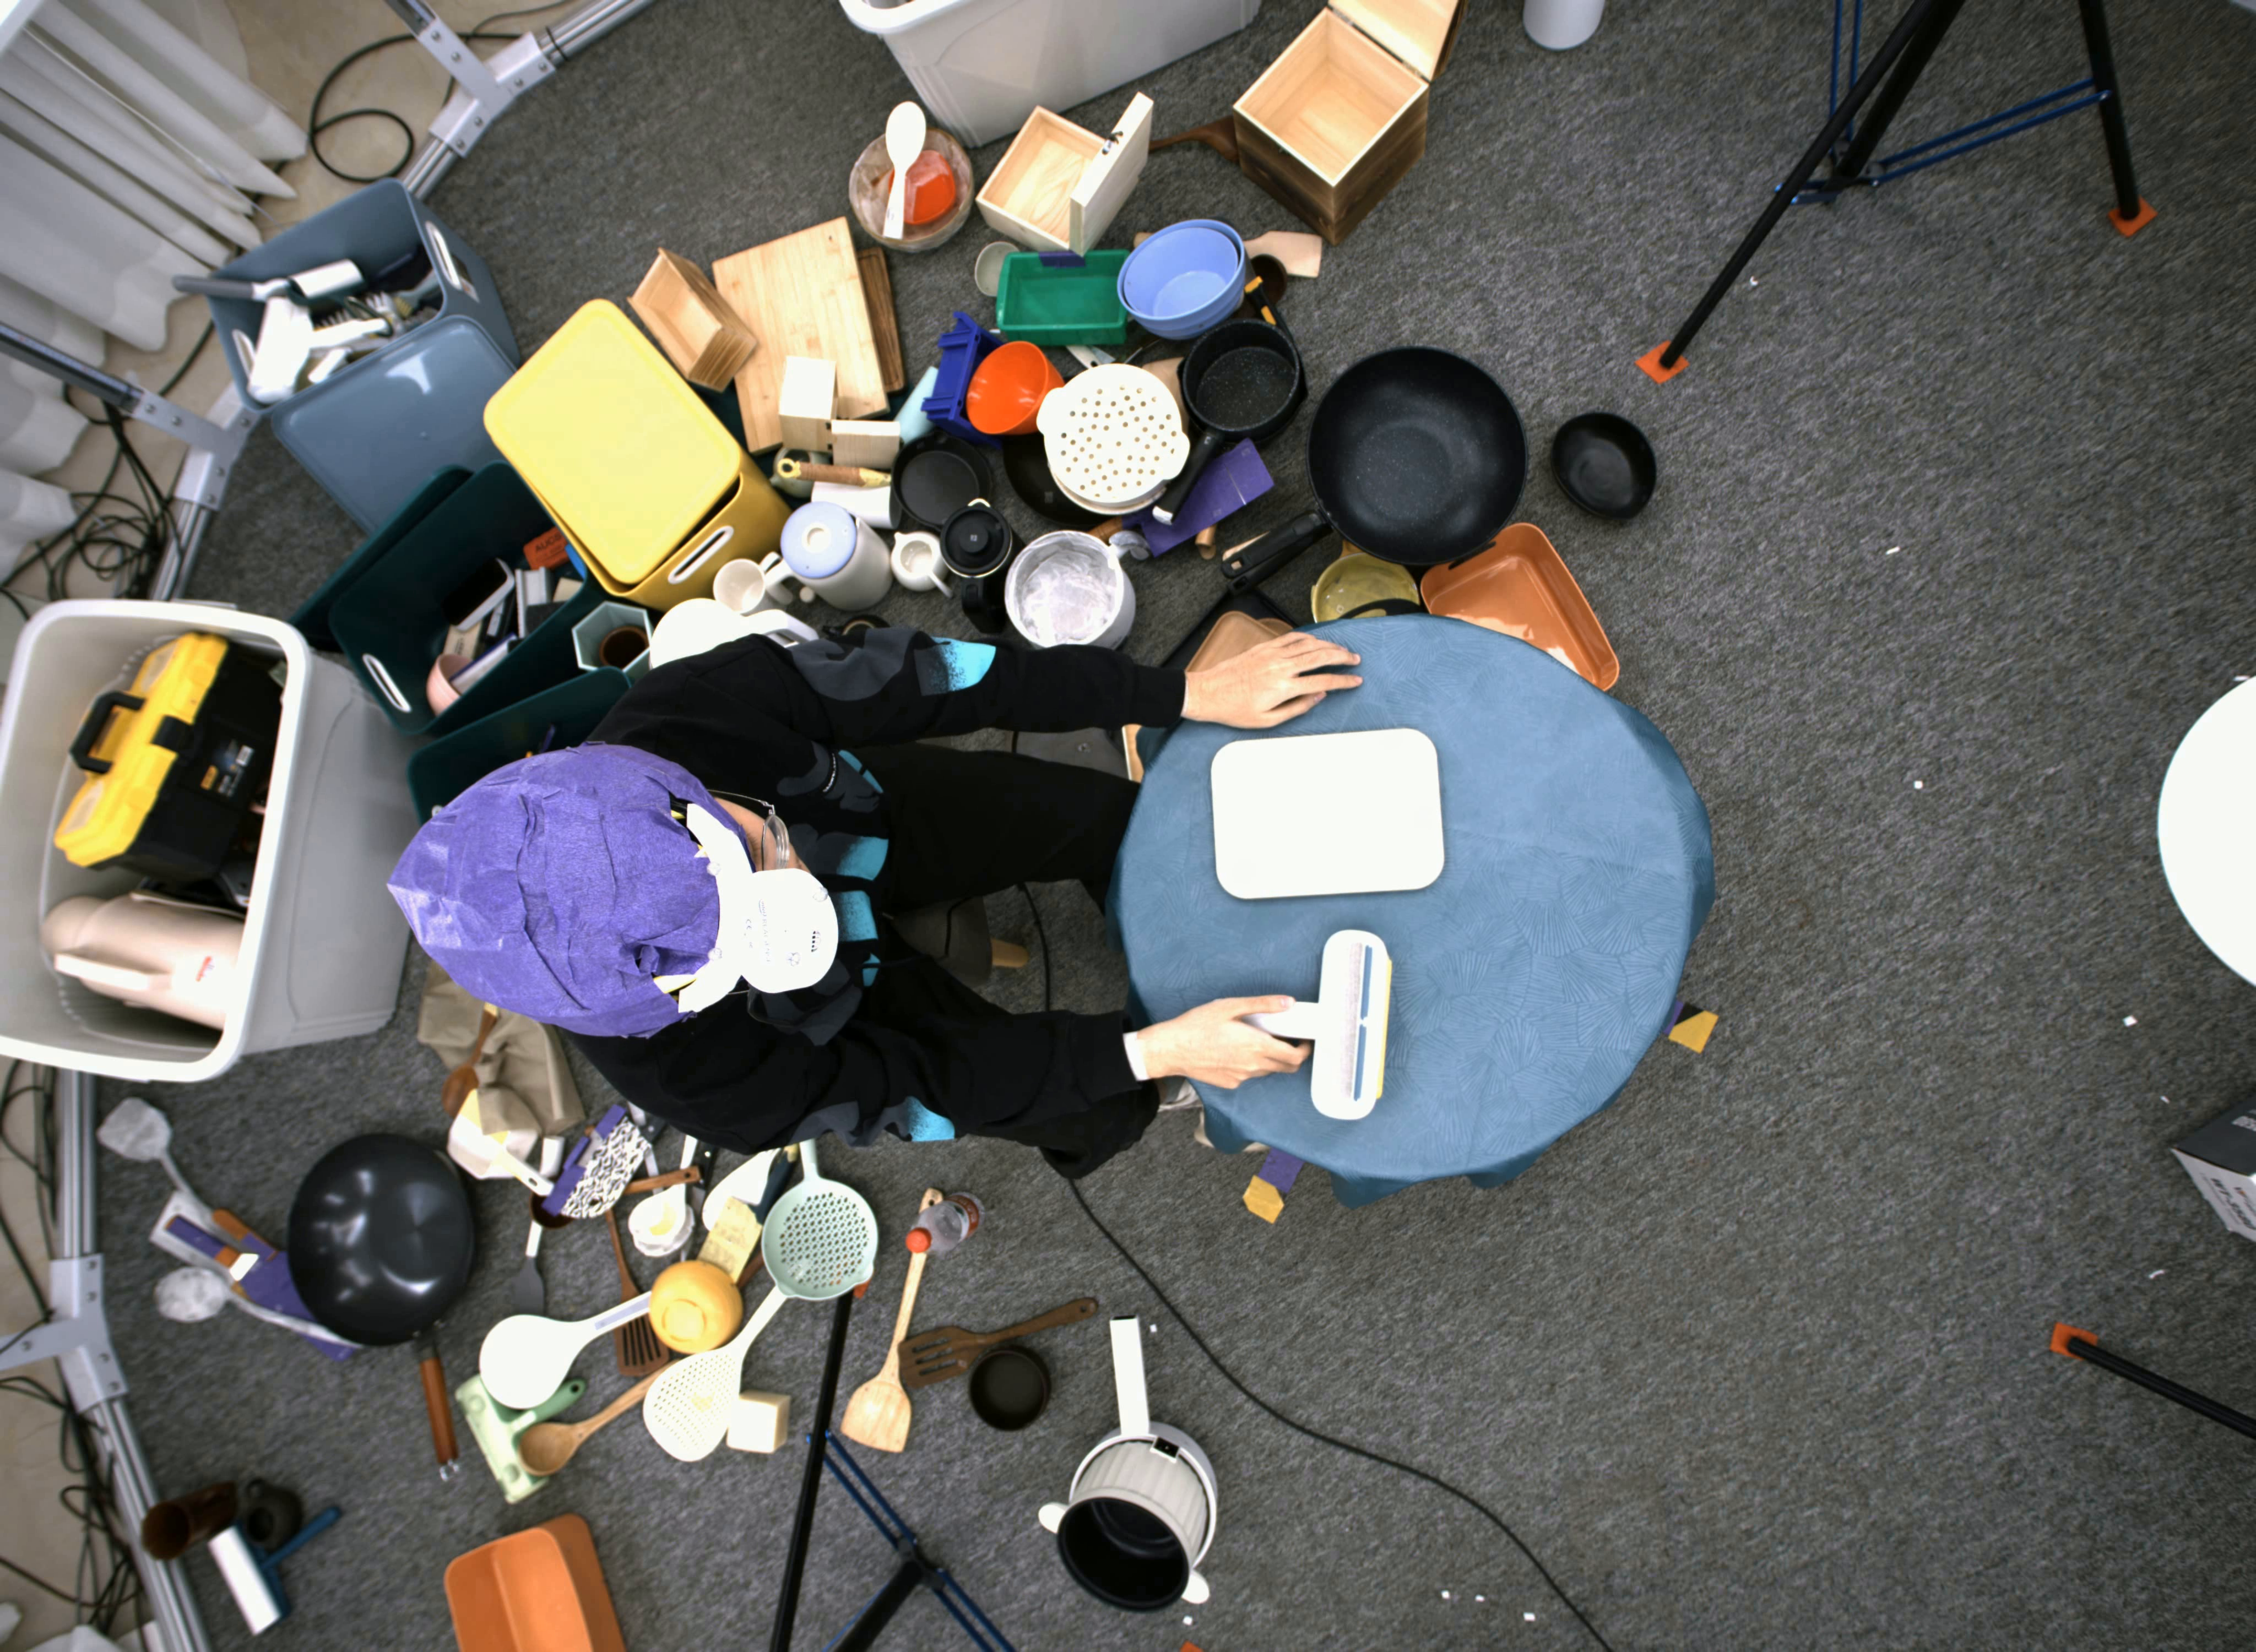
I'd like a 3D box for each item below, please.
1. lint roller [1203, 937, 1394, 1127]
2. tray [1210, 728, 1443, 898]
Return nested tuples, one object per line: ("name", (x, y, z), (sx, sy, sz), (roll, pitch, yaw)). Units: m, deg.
("lint roller", (0.170, 0.202, 1.433), (0.193, 0.074, 0.191), (8, 81, 13))
("tray", (0.209, -0.014, 1.462), (0.241, 0.017, 0.170), (-3, 87, 10))
